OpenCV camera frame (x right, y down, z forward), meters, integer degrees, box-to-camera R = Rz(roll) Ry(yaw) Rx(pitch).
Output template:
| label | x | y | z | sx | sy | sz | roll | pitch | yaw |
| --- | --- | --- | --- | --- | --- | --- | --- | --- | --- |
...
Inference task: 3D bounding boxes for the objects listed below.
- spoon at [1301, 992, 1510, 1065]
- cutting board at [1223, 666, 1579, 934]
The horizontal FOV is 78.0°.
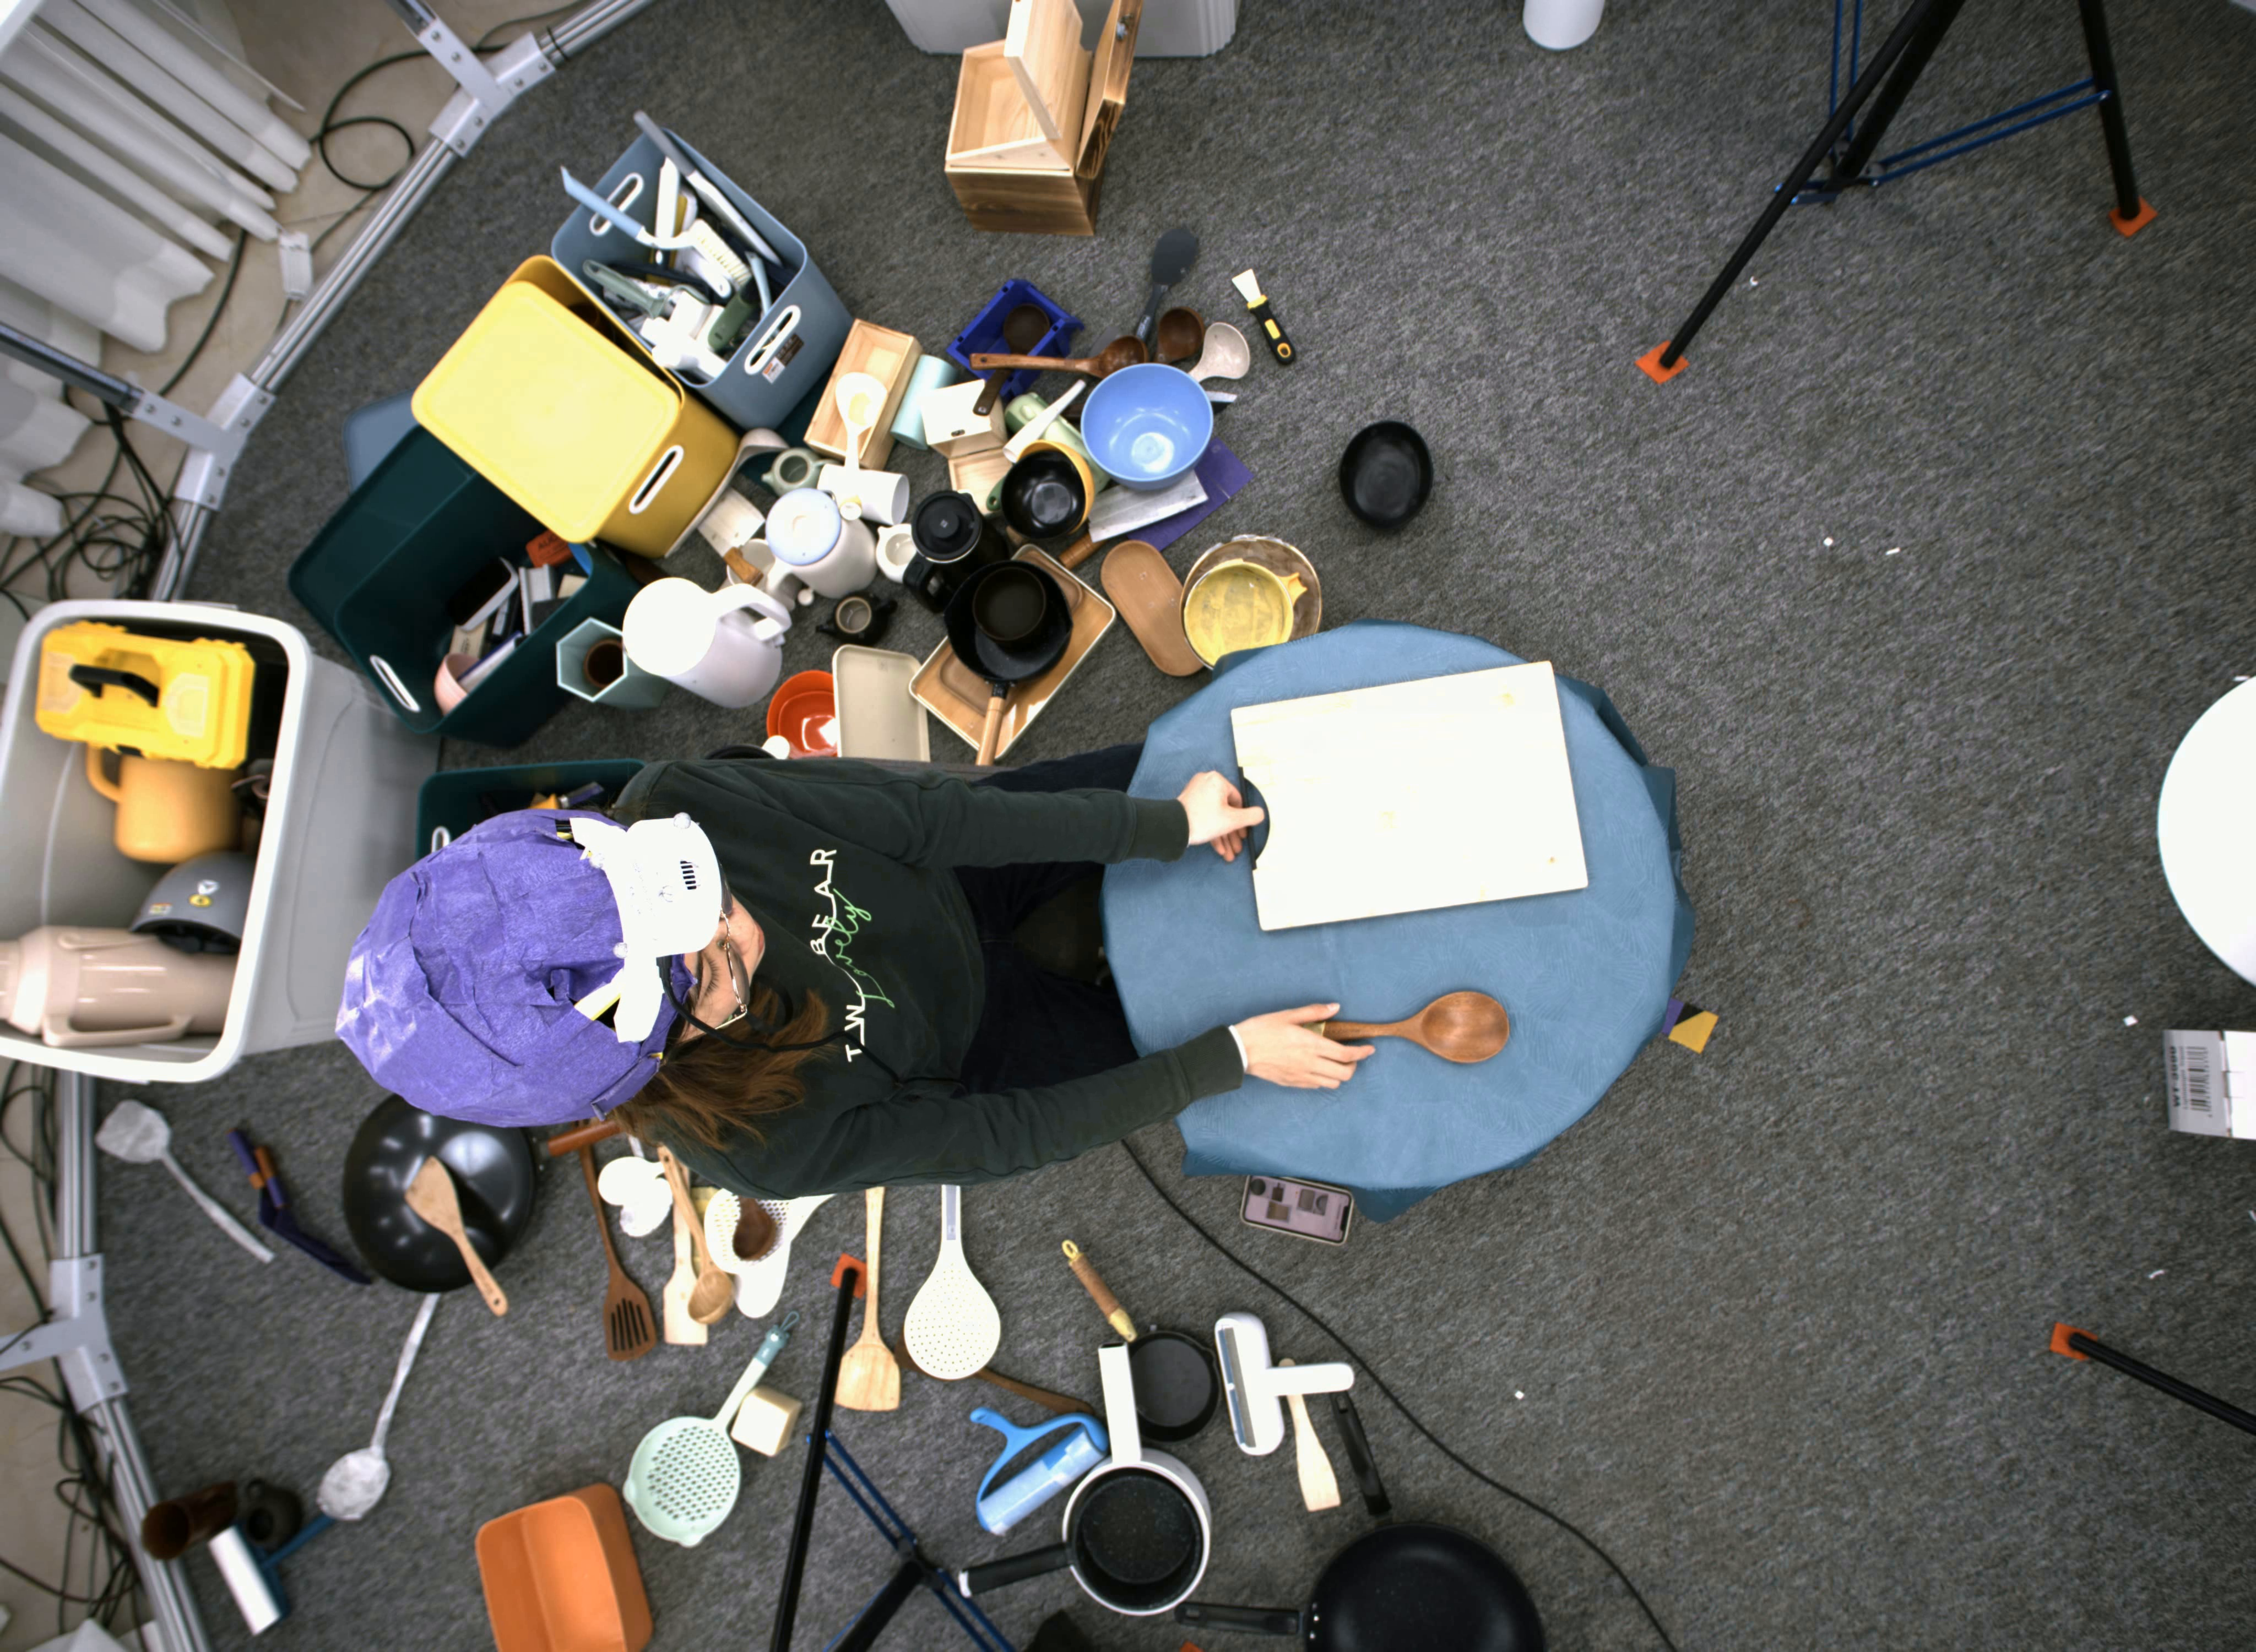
| label | x | y | z | sx | sy | sz | roll | pitch | yaw |
| --- | --- | --- | --- | --- | --- | --- | --- | --- | --- |
| spoon | 0.288 | 0.212 | 1.443 | 0.217 | 0.017 | 0.075 | -4 | 87 | 9 |
| cutting board | 0.288 | -0.028 | 1.458 | 0.350 | 0.023 | 0.249 | -9 | 84 | 9 |
